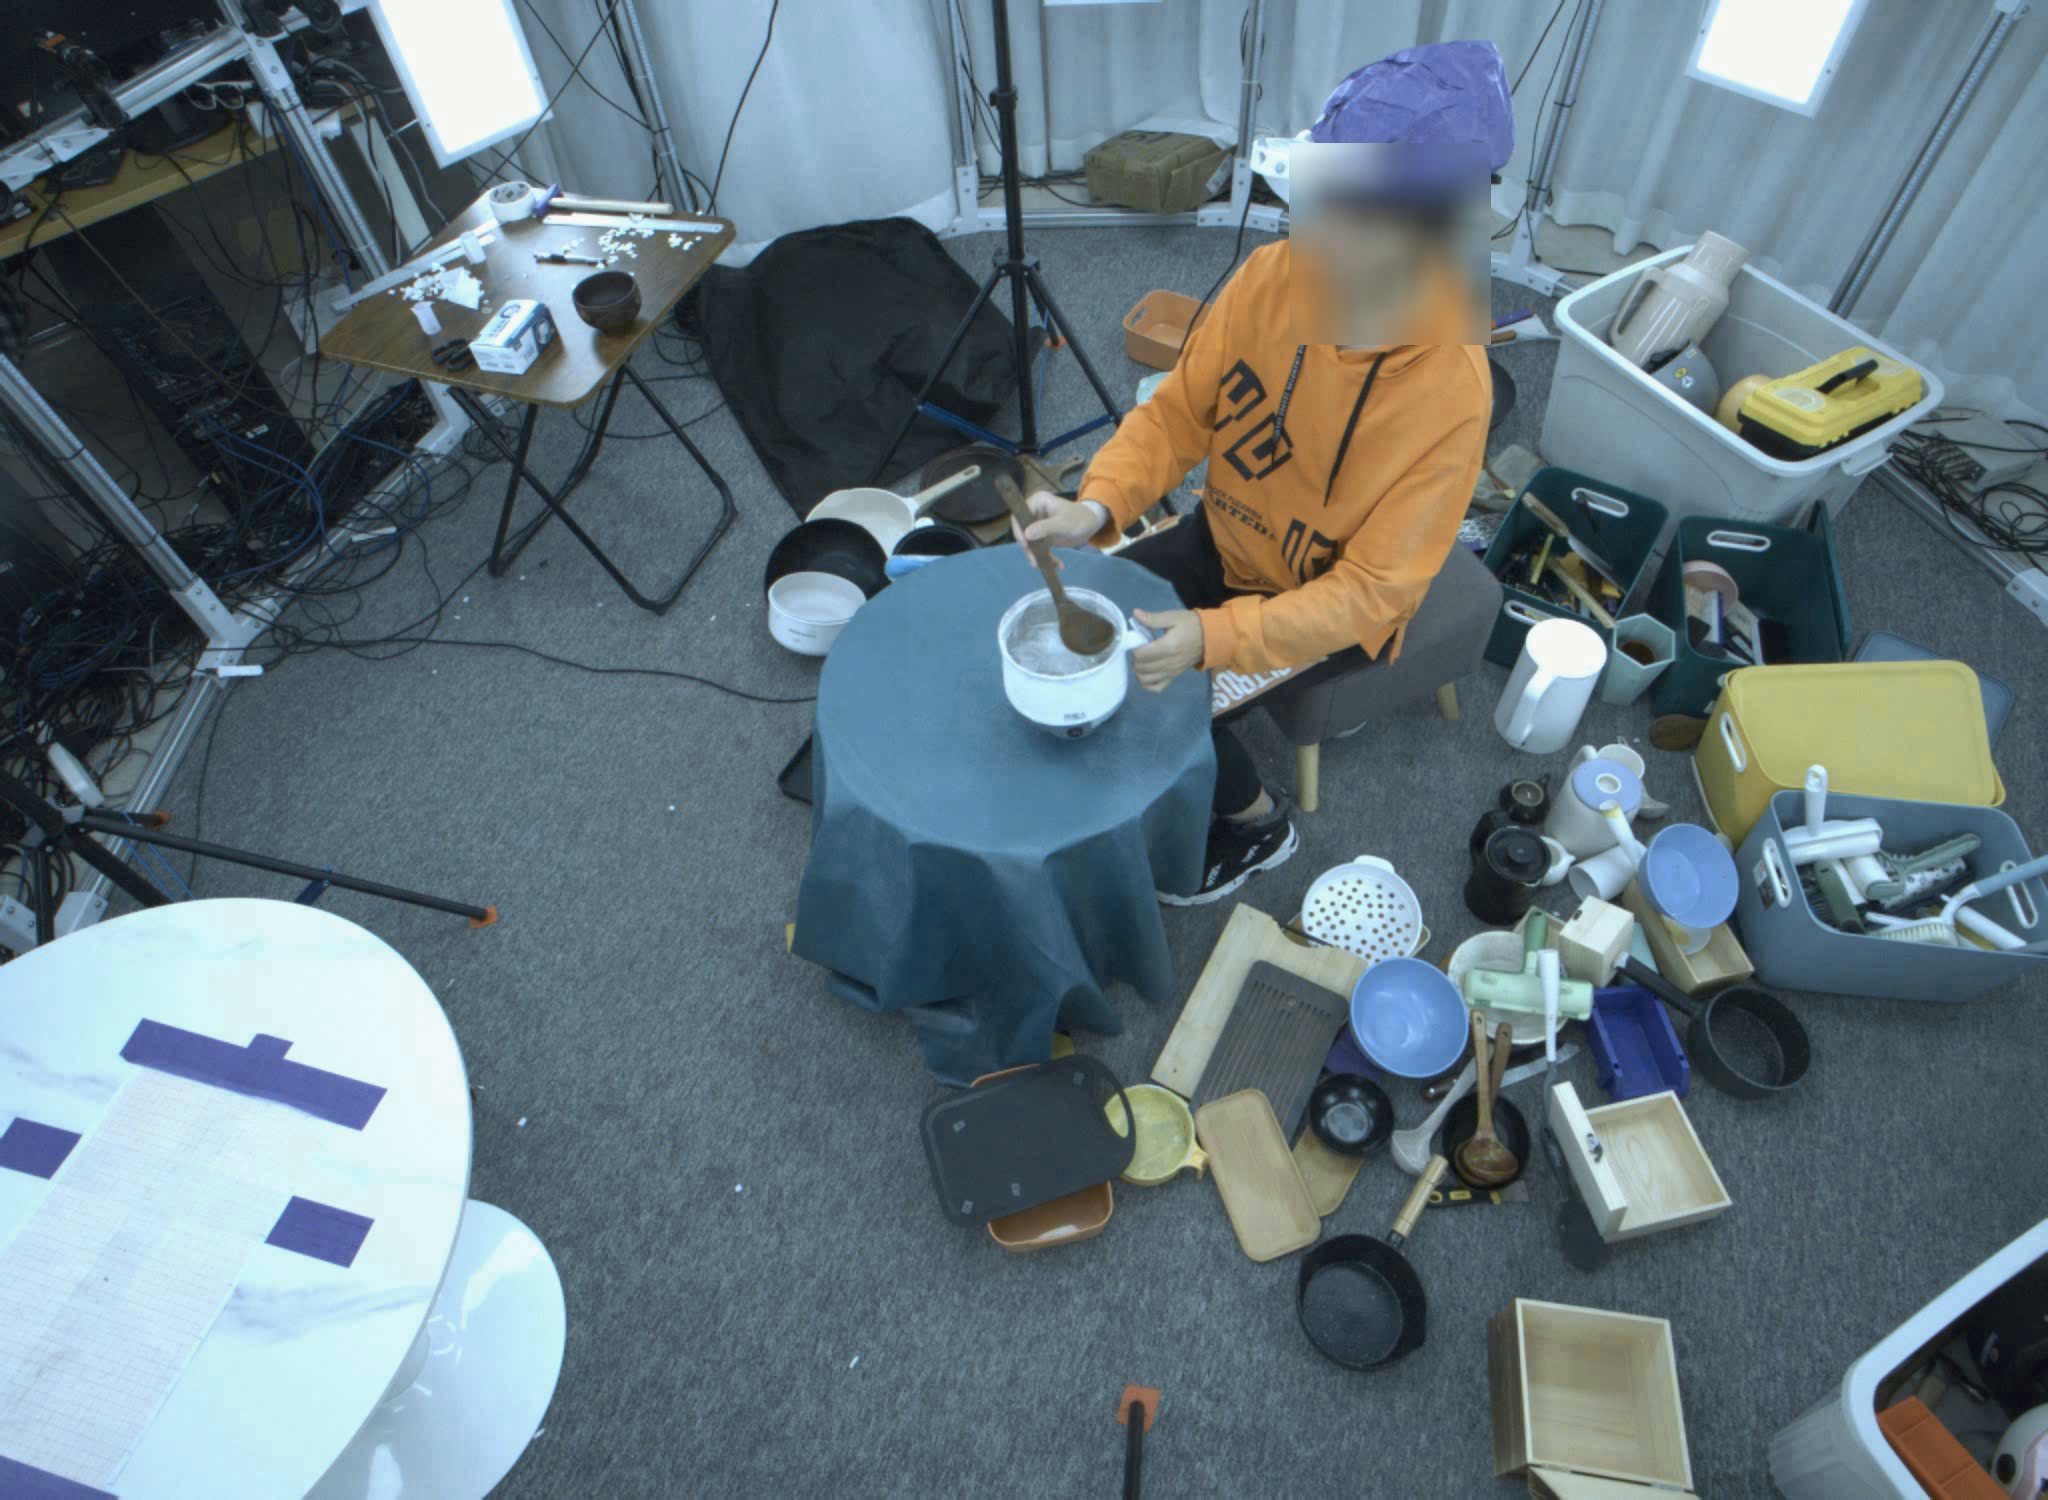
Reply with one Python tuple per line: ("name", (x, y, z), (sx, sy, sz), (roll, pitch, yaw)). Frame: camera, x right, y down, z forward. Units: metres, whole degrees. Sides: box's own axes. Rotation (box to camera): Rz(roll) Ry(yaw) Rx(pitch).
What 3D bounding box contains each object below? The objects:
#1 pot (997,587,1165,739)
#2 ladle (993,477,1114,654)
("pot", (0.083, -0.127, 1.737), (0.234, 0.138, 0.176), (-10, 53, -4))
("ladle", (0.038, -0.257, 1.669), (0.077, 0.070, 0.275), (-29, 97, -26))
